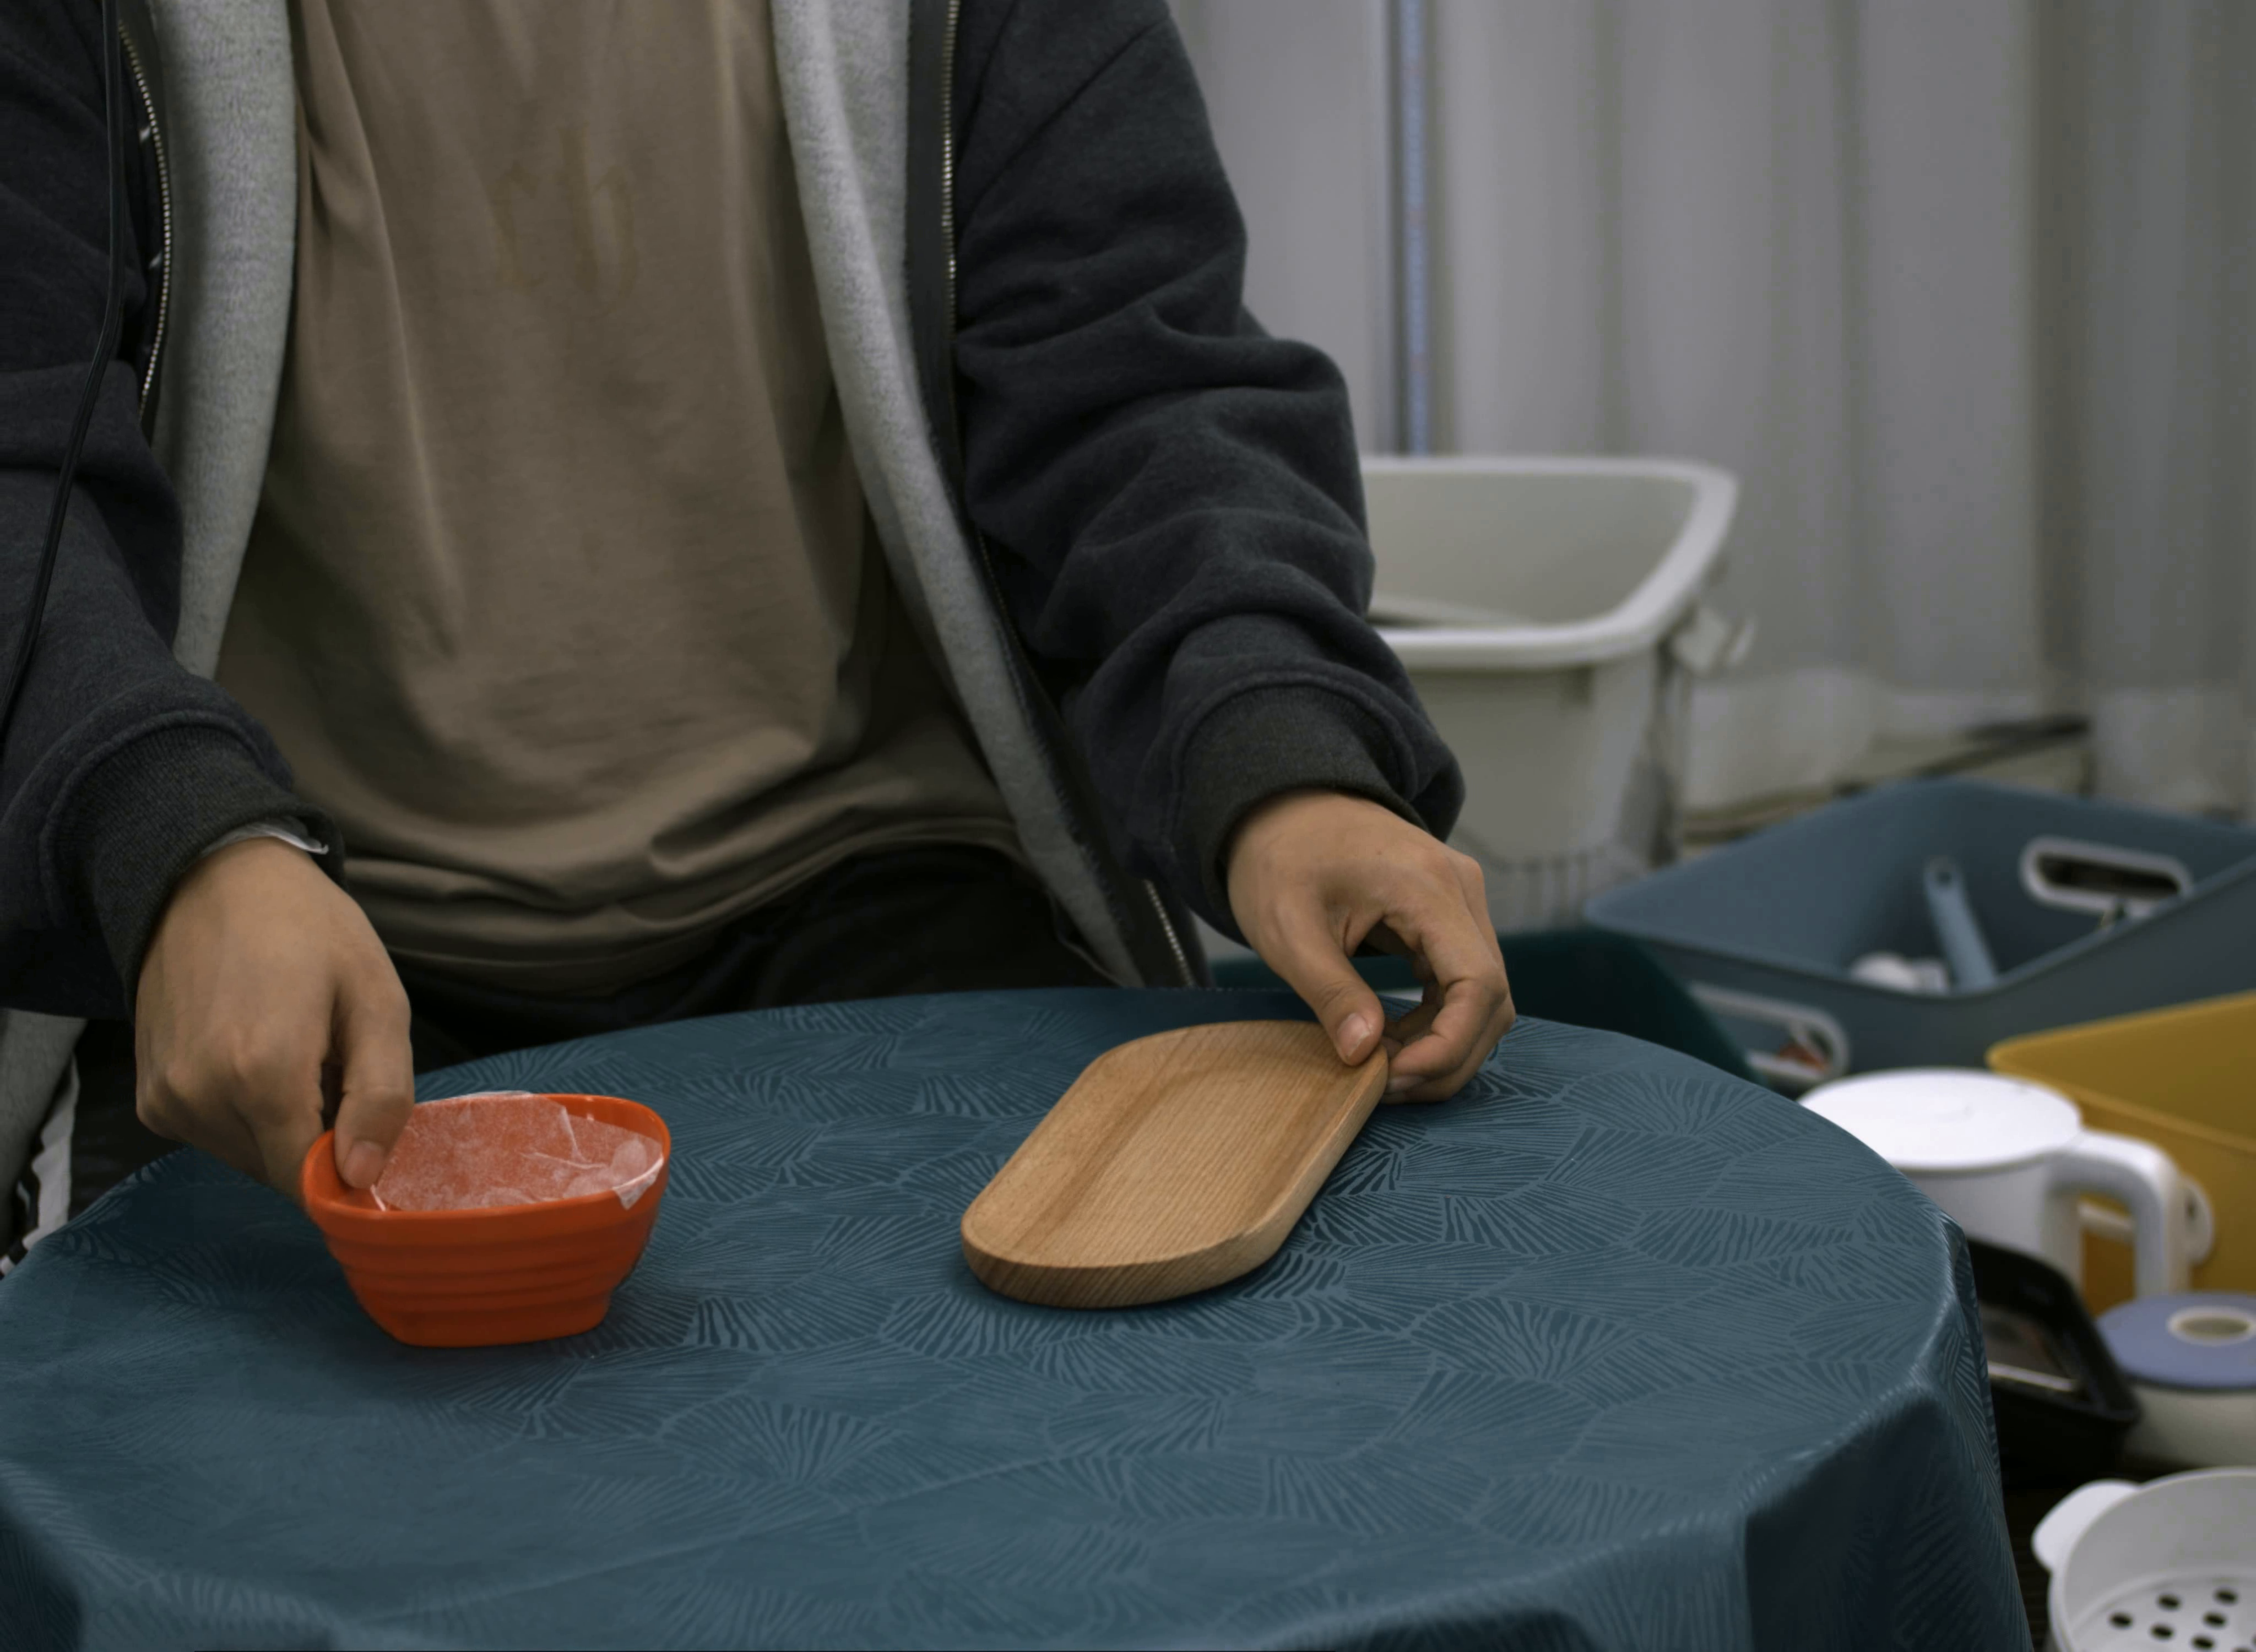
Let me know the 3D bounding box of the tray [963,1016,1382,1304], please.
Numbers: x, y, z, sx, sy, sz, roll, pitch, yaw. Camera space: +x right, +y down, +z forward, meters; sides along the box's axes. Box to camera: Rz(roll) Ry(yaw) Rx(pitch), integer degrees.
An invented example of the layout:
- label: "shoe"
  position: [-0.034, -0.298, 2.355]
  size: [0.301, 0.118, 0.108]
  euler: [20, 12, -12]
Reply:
- label: "tray"
  position: [0.017, 0.103, 1.716]
  size: [0.101, 0.020, 0.232]
  euler: [-1, 15, 15]

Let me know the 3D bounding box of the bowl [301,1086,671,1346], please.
- label: "bowl"
  position: [-0.189, 0.119, 1.634]
  size: [0.118, 0.051, 0.120]
  euler: [-3, 15, 1]
